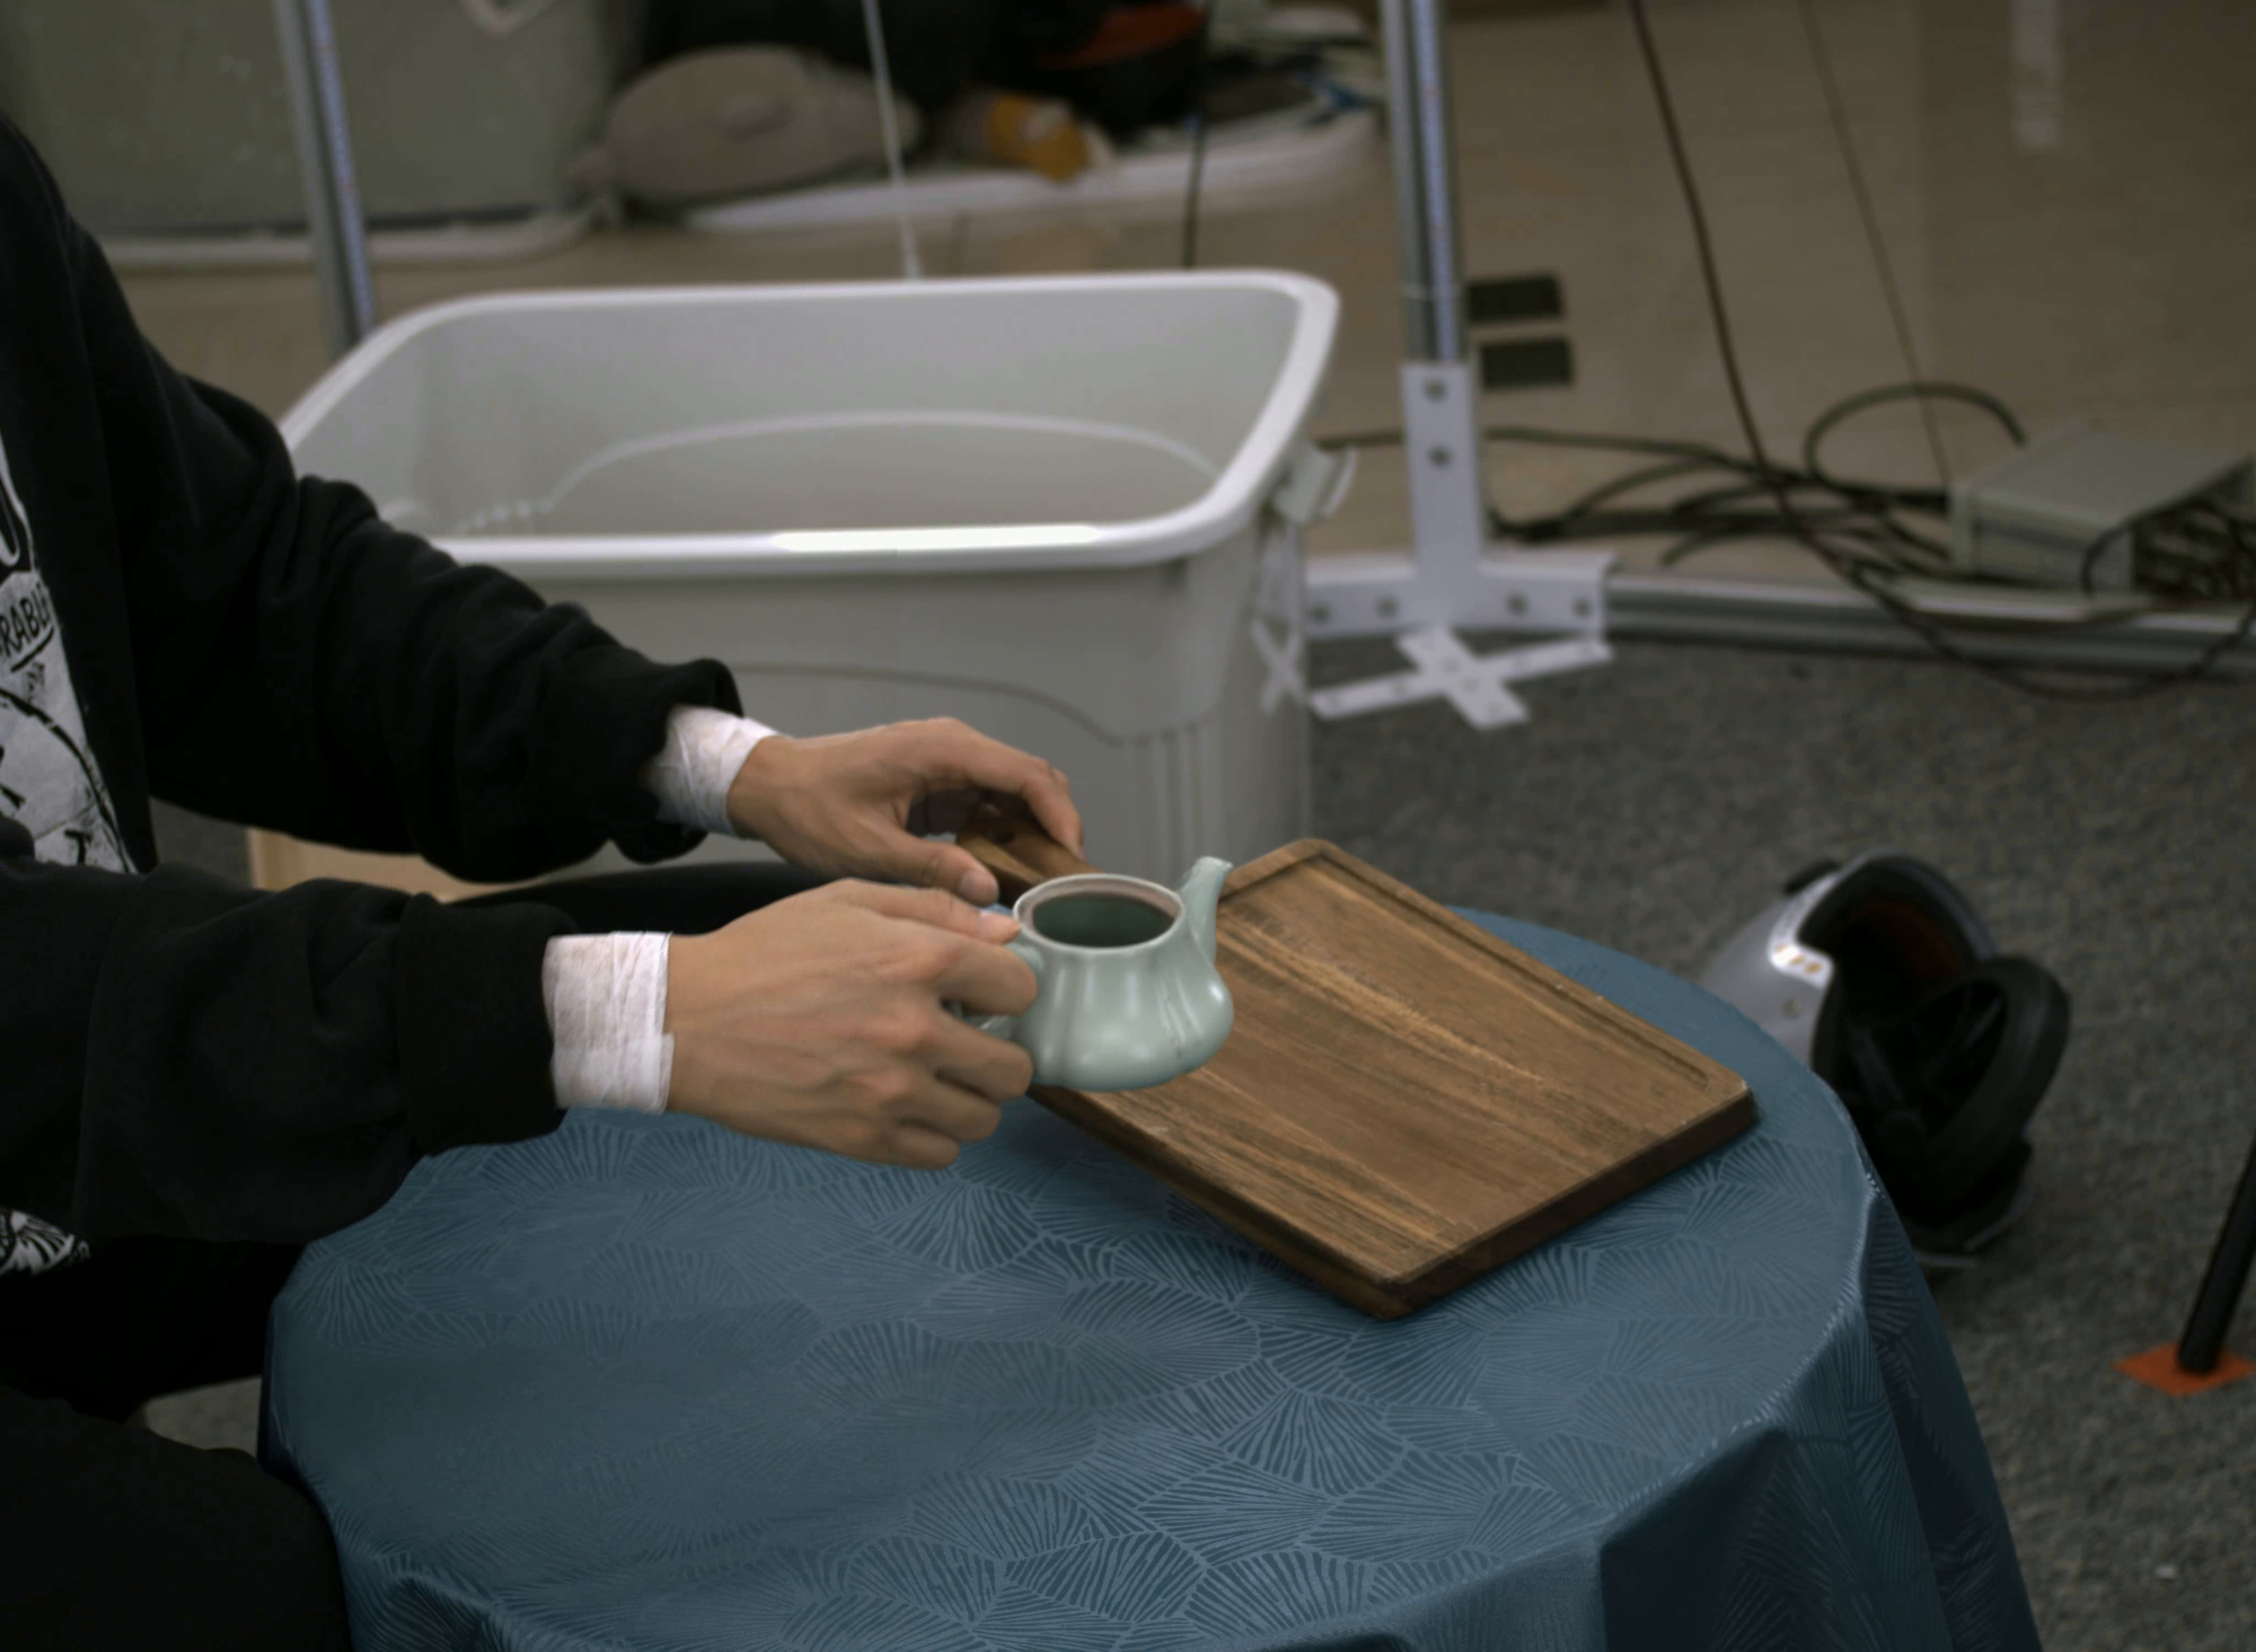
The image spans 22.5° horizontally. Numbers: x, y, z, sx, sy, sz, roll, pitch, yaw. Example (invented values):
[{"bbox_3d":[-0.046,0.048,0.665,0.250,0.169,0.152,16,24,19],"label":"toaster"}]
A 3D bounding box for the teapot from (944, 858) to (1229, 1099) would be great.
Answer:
[{"bbox_3d":[-0.015,0.057,2.004,0.095,0.062,0.136,26,34,38],"label":"teapot"}]

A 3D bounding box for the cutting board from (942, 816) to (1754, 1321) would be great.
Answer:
[{"bbox_3d":[0.051,0.072,2.194,0.199,0.023,0.348,-25,40,-35],"label":"cutting board"}]
